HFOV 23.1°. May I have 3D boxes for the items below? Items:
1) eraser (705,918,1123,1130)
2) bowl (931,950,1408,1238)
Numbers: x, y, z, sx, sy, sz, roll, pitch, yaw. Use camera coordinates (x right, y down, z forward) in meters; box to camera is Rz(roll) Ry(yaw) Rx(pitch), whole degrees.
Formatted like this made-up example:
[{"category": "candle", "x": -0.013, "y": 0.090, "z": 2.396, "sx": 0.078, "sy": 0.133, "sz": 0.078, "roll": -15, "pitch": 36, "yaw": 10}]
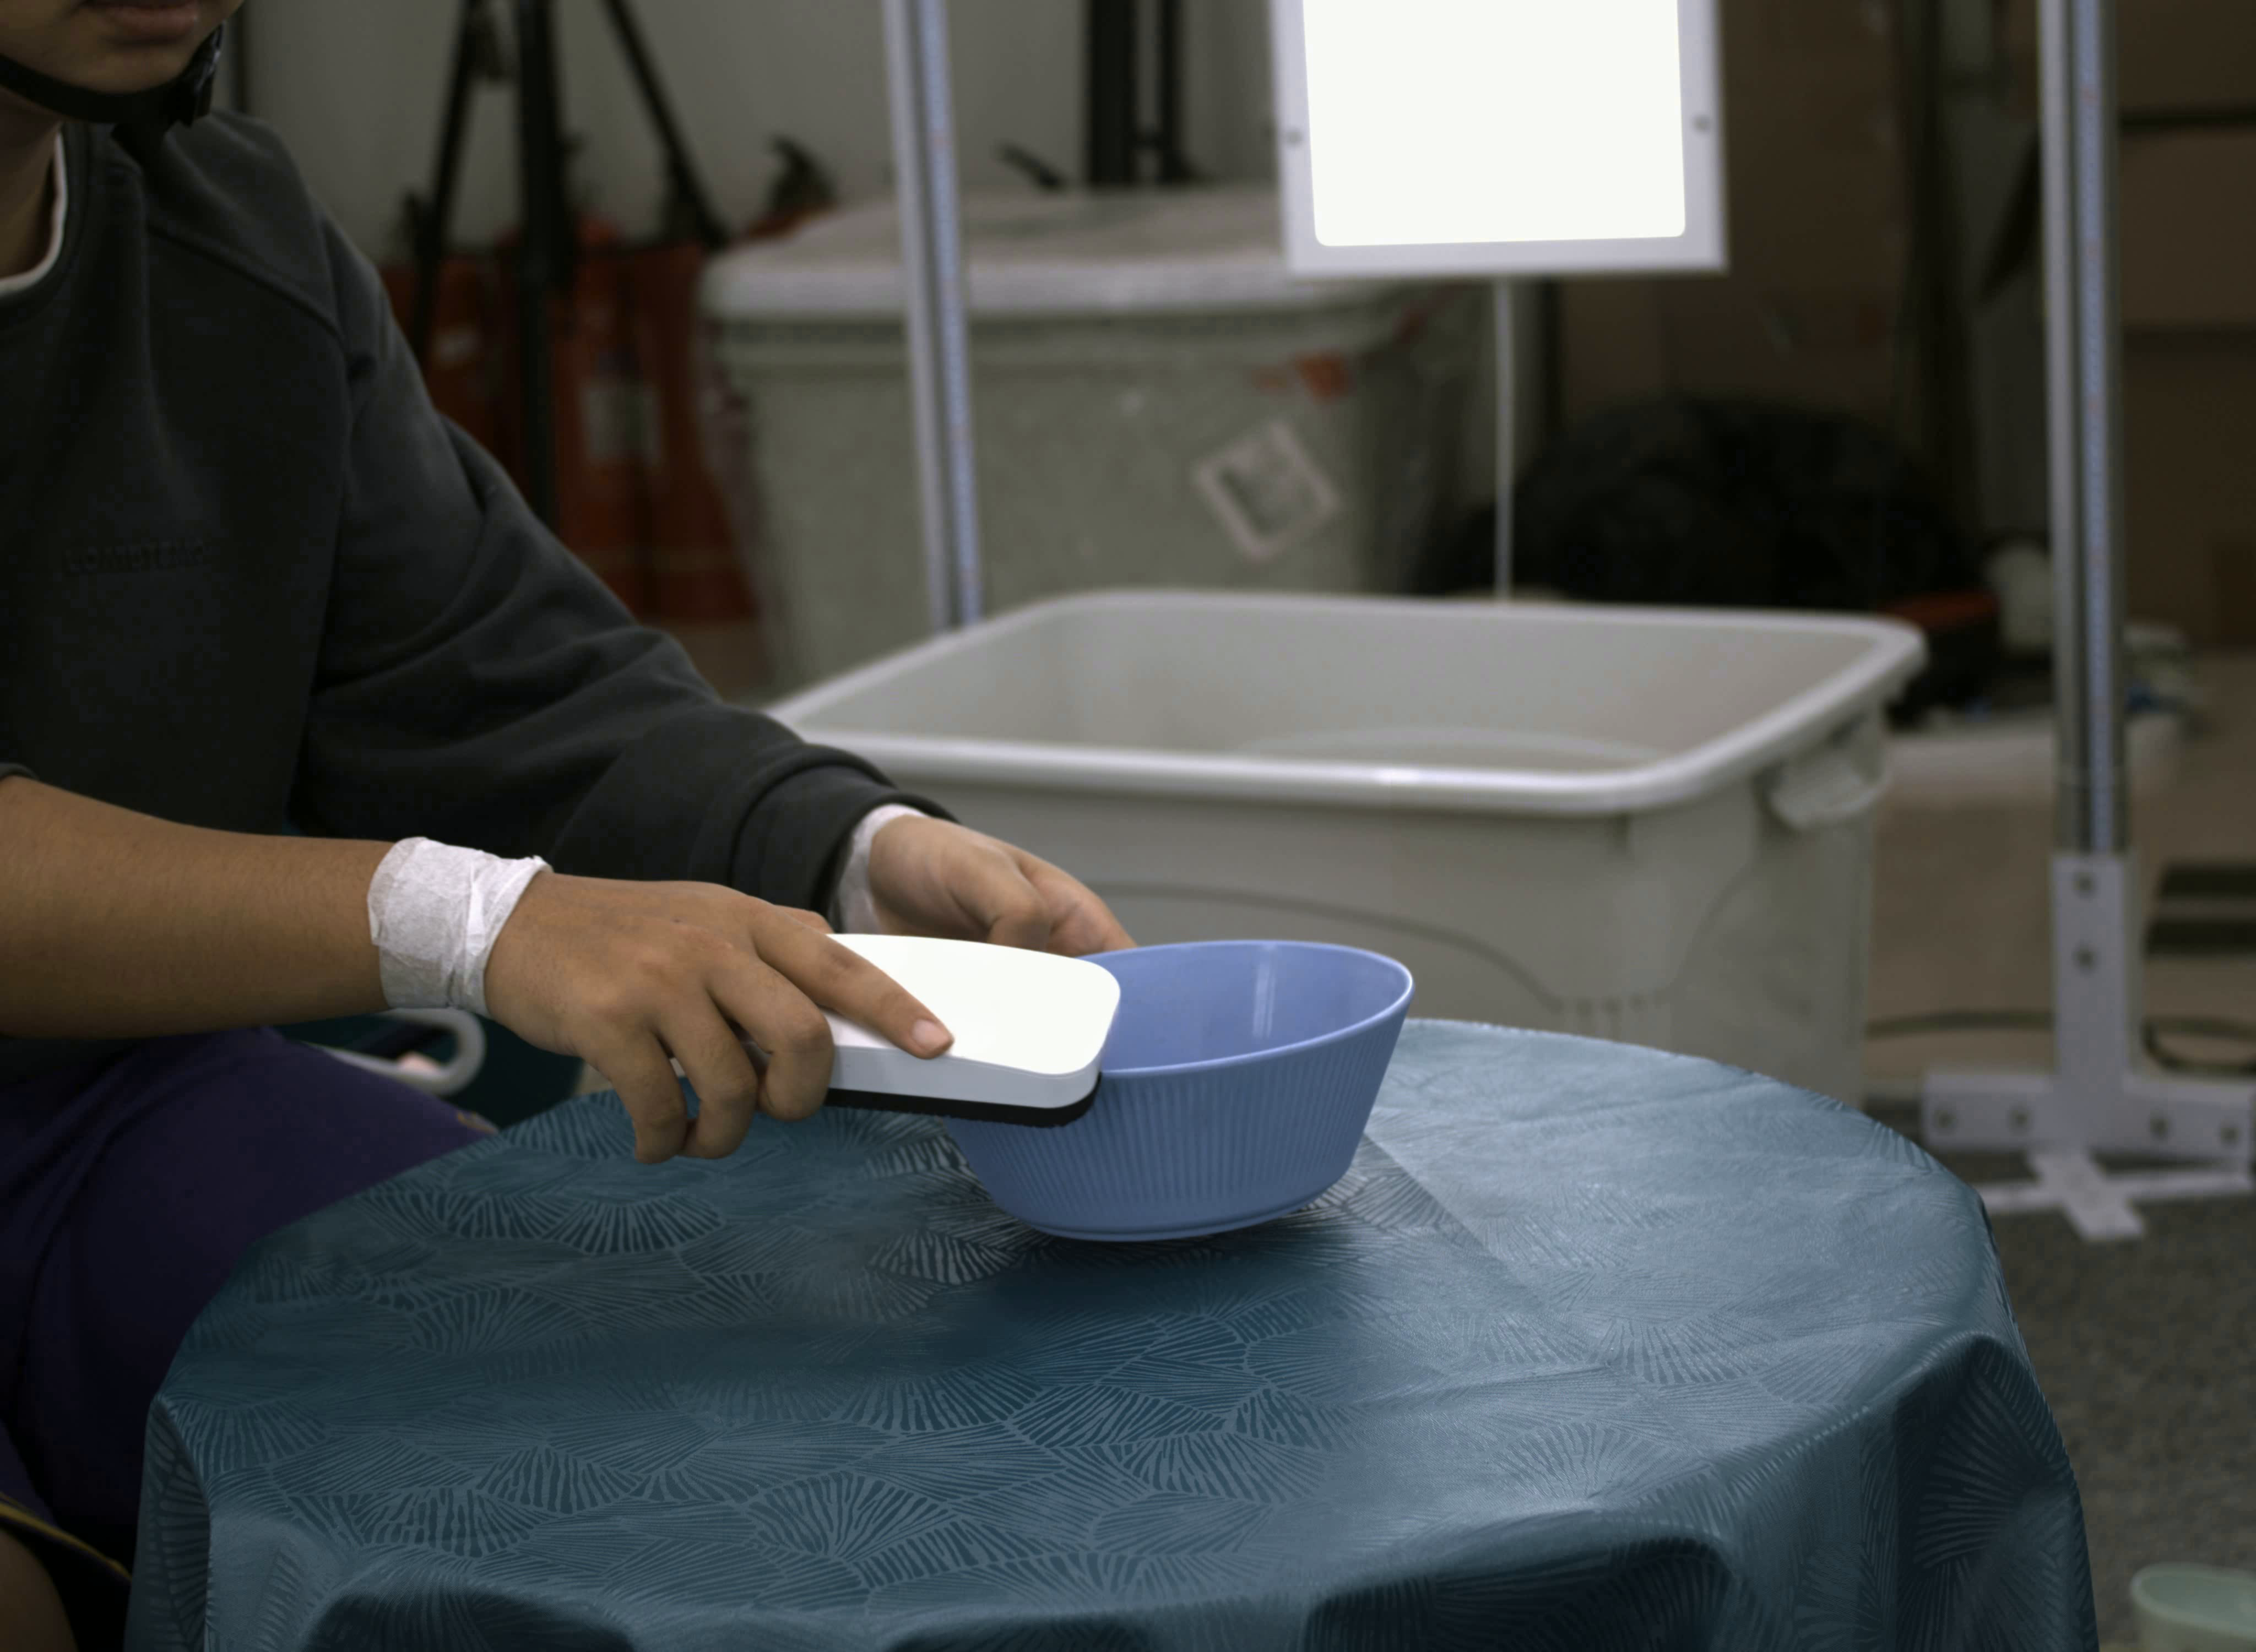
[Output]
[{"category": "eraser", "x": -0.068, "y": 0.063, "z": 1.774, "sx": 0.132, "sy": 0.034, "sz": 0.062, "roll": 7, "pitch": 35, "yaw": 16}, {"category": "bowl", "x": 0.009, "y": 0.092, "z": 1.854, "sx": 0.175, "sy": 0.070, "sz": 0.176, "roll": -5, "pitch": 11, "yaw": 0}]
